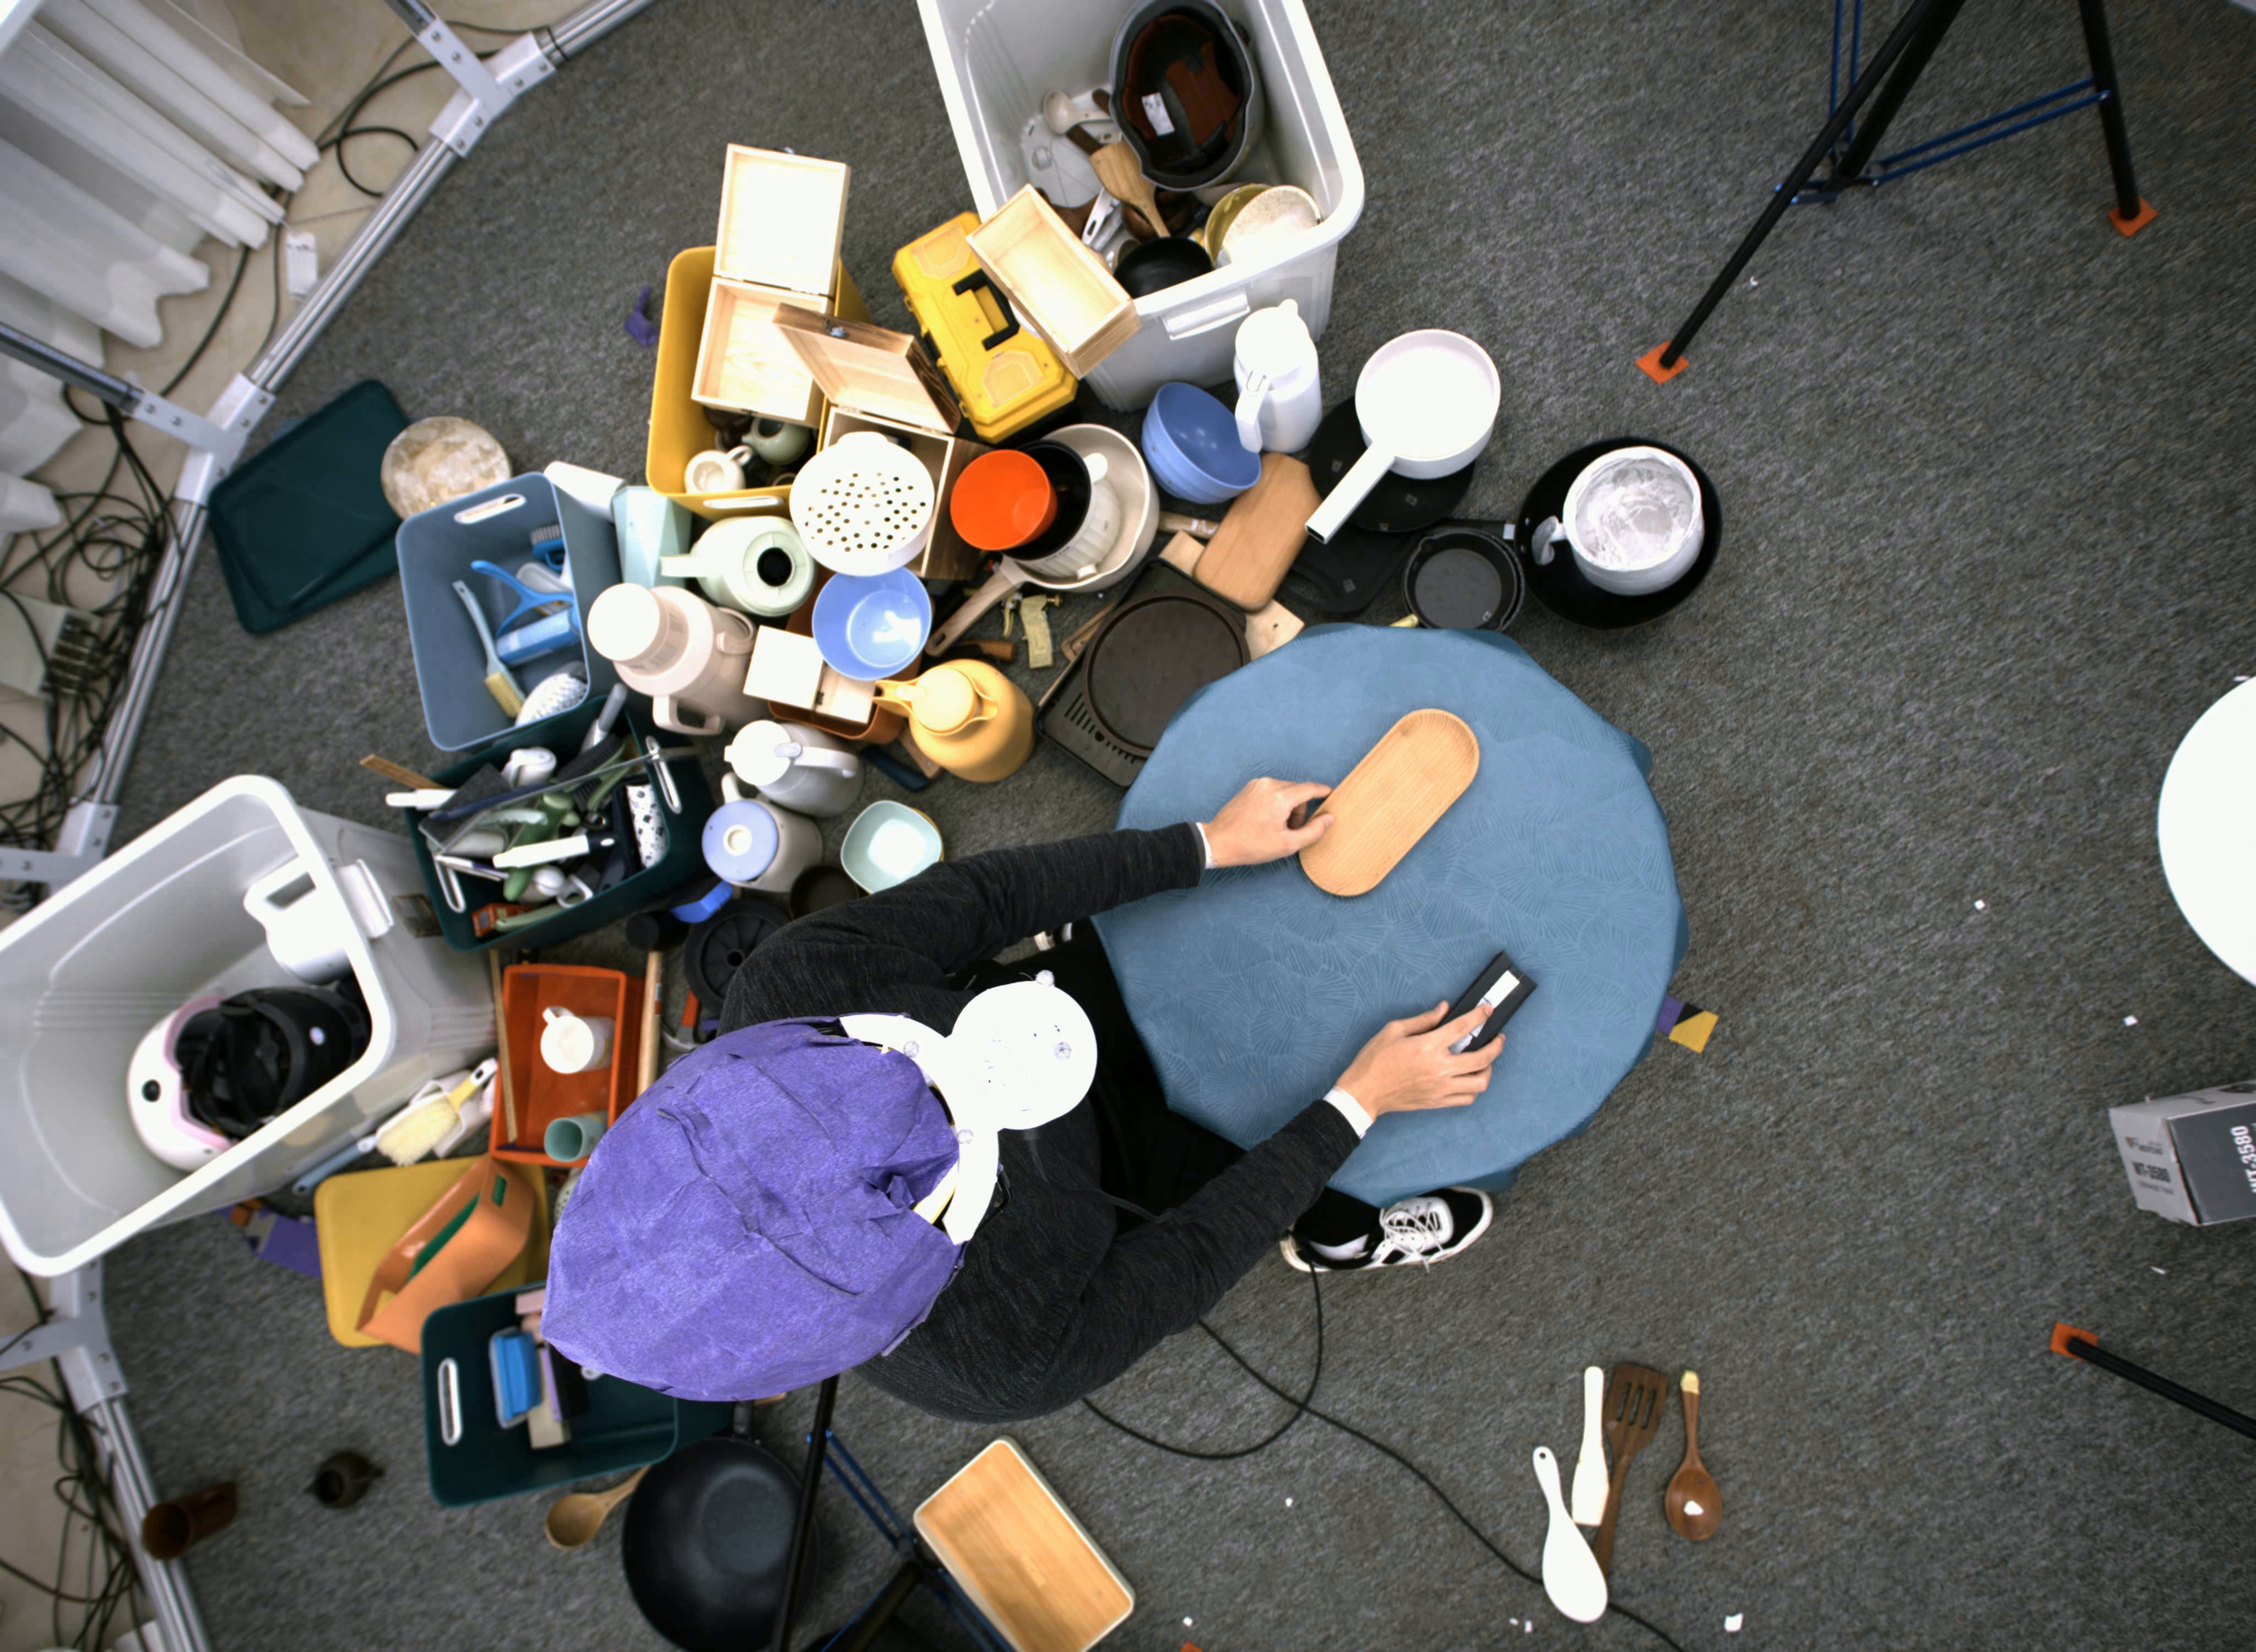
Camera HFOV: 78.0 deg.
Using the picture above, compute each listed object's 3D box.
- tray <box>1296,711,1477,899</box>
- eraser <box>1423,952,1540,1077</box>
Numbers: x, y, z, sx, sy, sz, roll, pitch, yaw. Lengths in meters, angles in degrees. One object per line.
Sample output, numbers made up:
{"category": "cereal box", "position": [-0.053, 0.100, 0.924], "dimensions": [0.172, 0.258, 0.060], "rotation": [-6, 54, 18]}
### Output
{"category": "tray", "position": [0.272, -0.023, 1.453], "dimensions": [0.101, 0.020, 0.232], "rotation": [42, 96, 5]}
{"category": "eraser", "position": [0.362, 0.191, 1.413], "dimensions": [0.053, 0.030, 0.126], "rotation": [40, 92, 16]}
